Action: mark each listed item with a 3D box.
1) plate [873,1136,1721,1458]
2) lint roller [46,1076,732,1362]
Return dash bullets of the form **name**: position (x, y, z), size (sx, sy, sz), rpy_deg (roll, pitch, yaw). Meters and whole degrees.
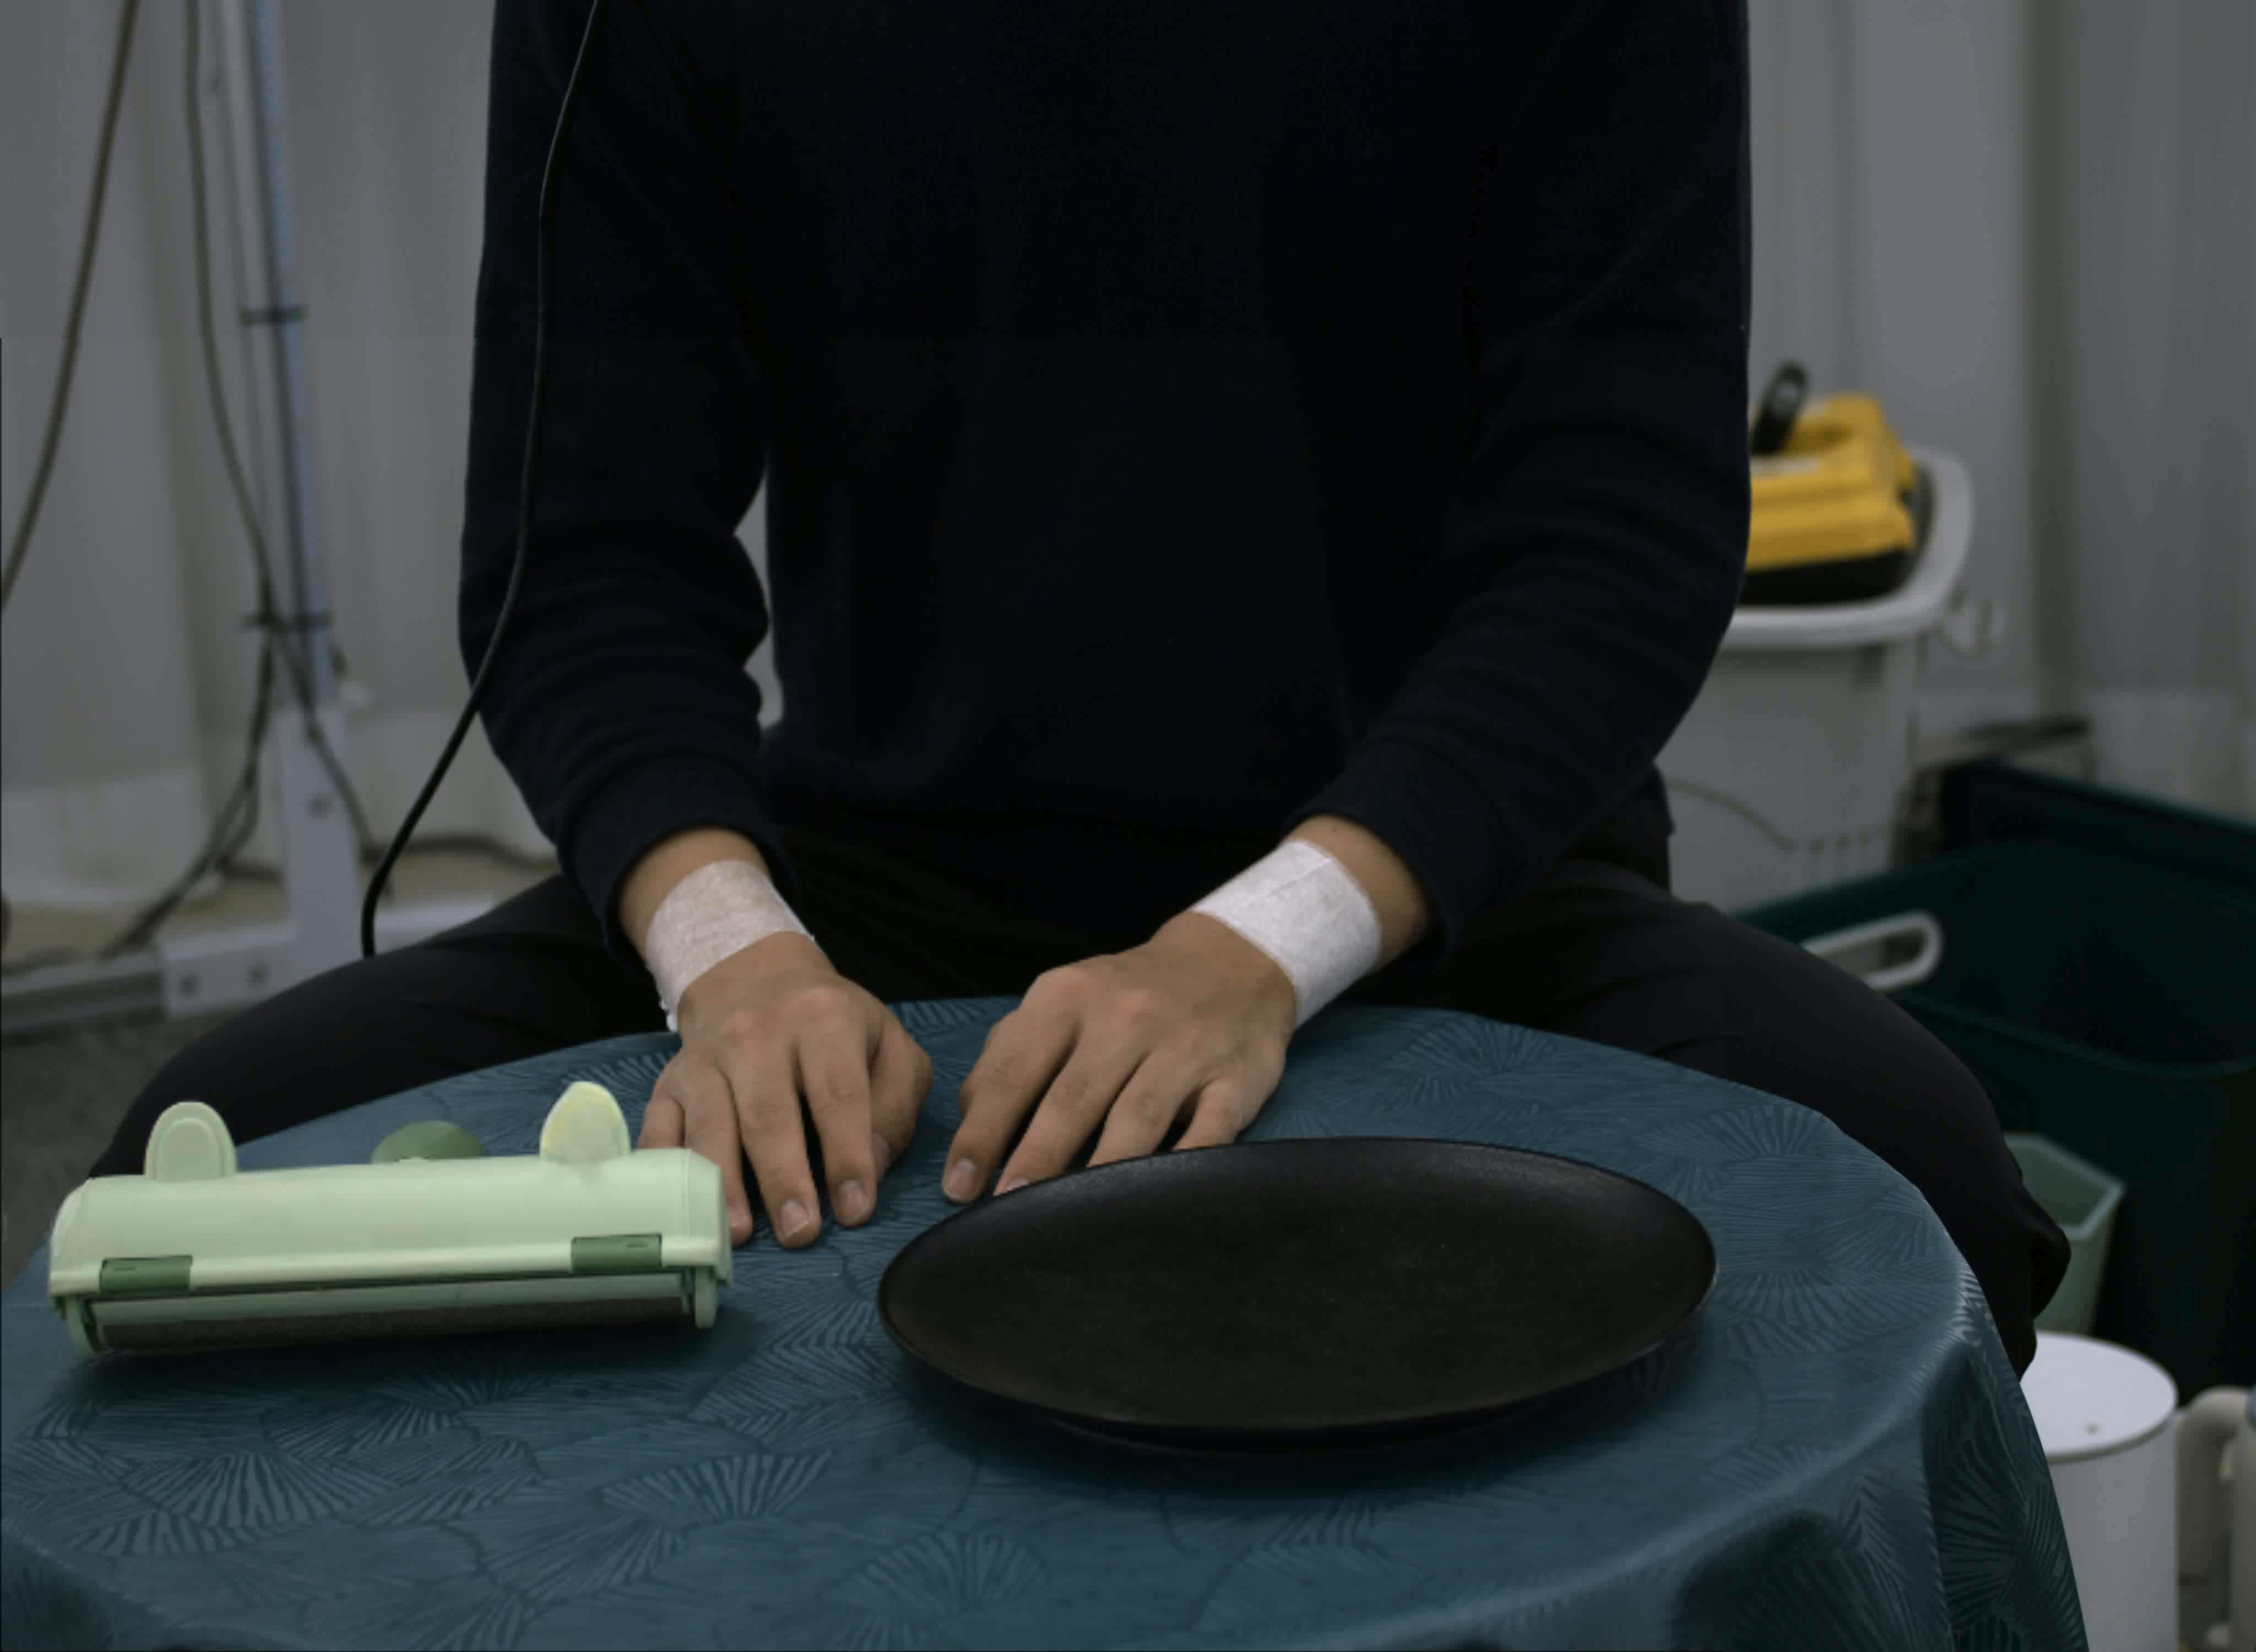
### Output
- **plate**: position (0.049, 0.138, 1.573), size (0.243, 0.023, 0.246), rpy_deg (-3, 15, 0)
- **lint roller**: position (-0.219, 0.098, 1.656), size (0.198, 0.081, 0.185), rpy_deg (-3, 21, -2)
